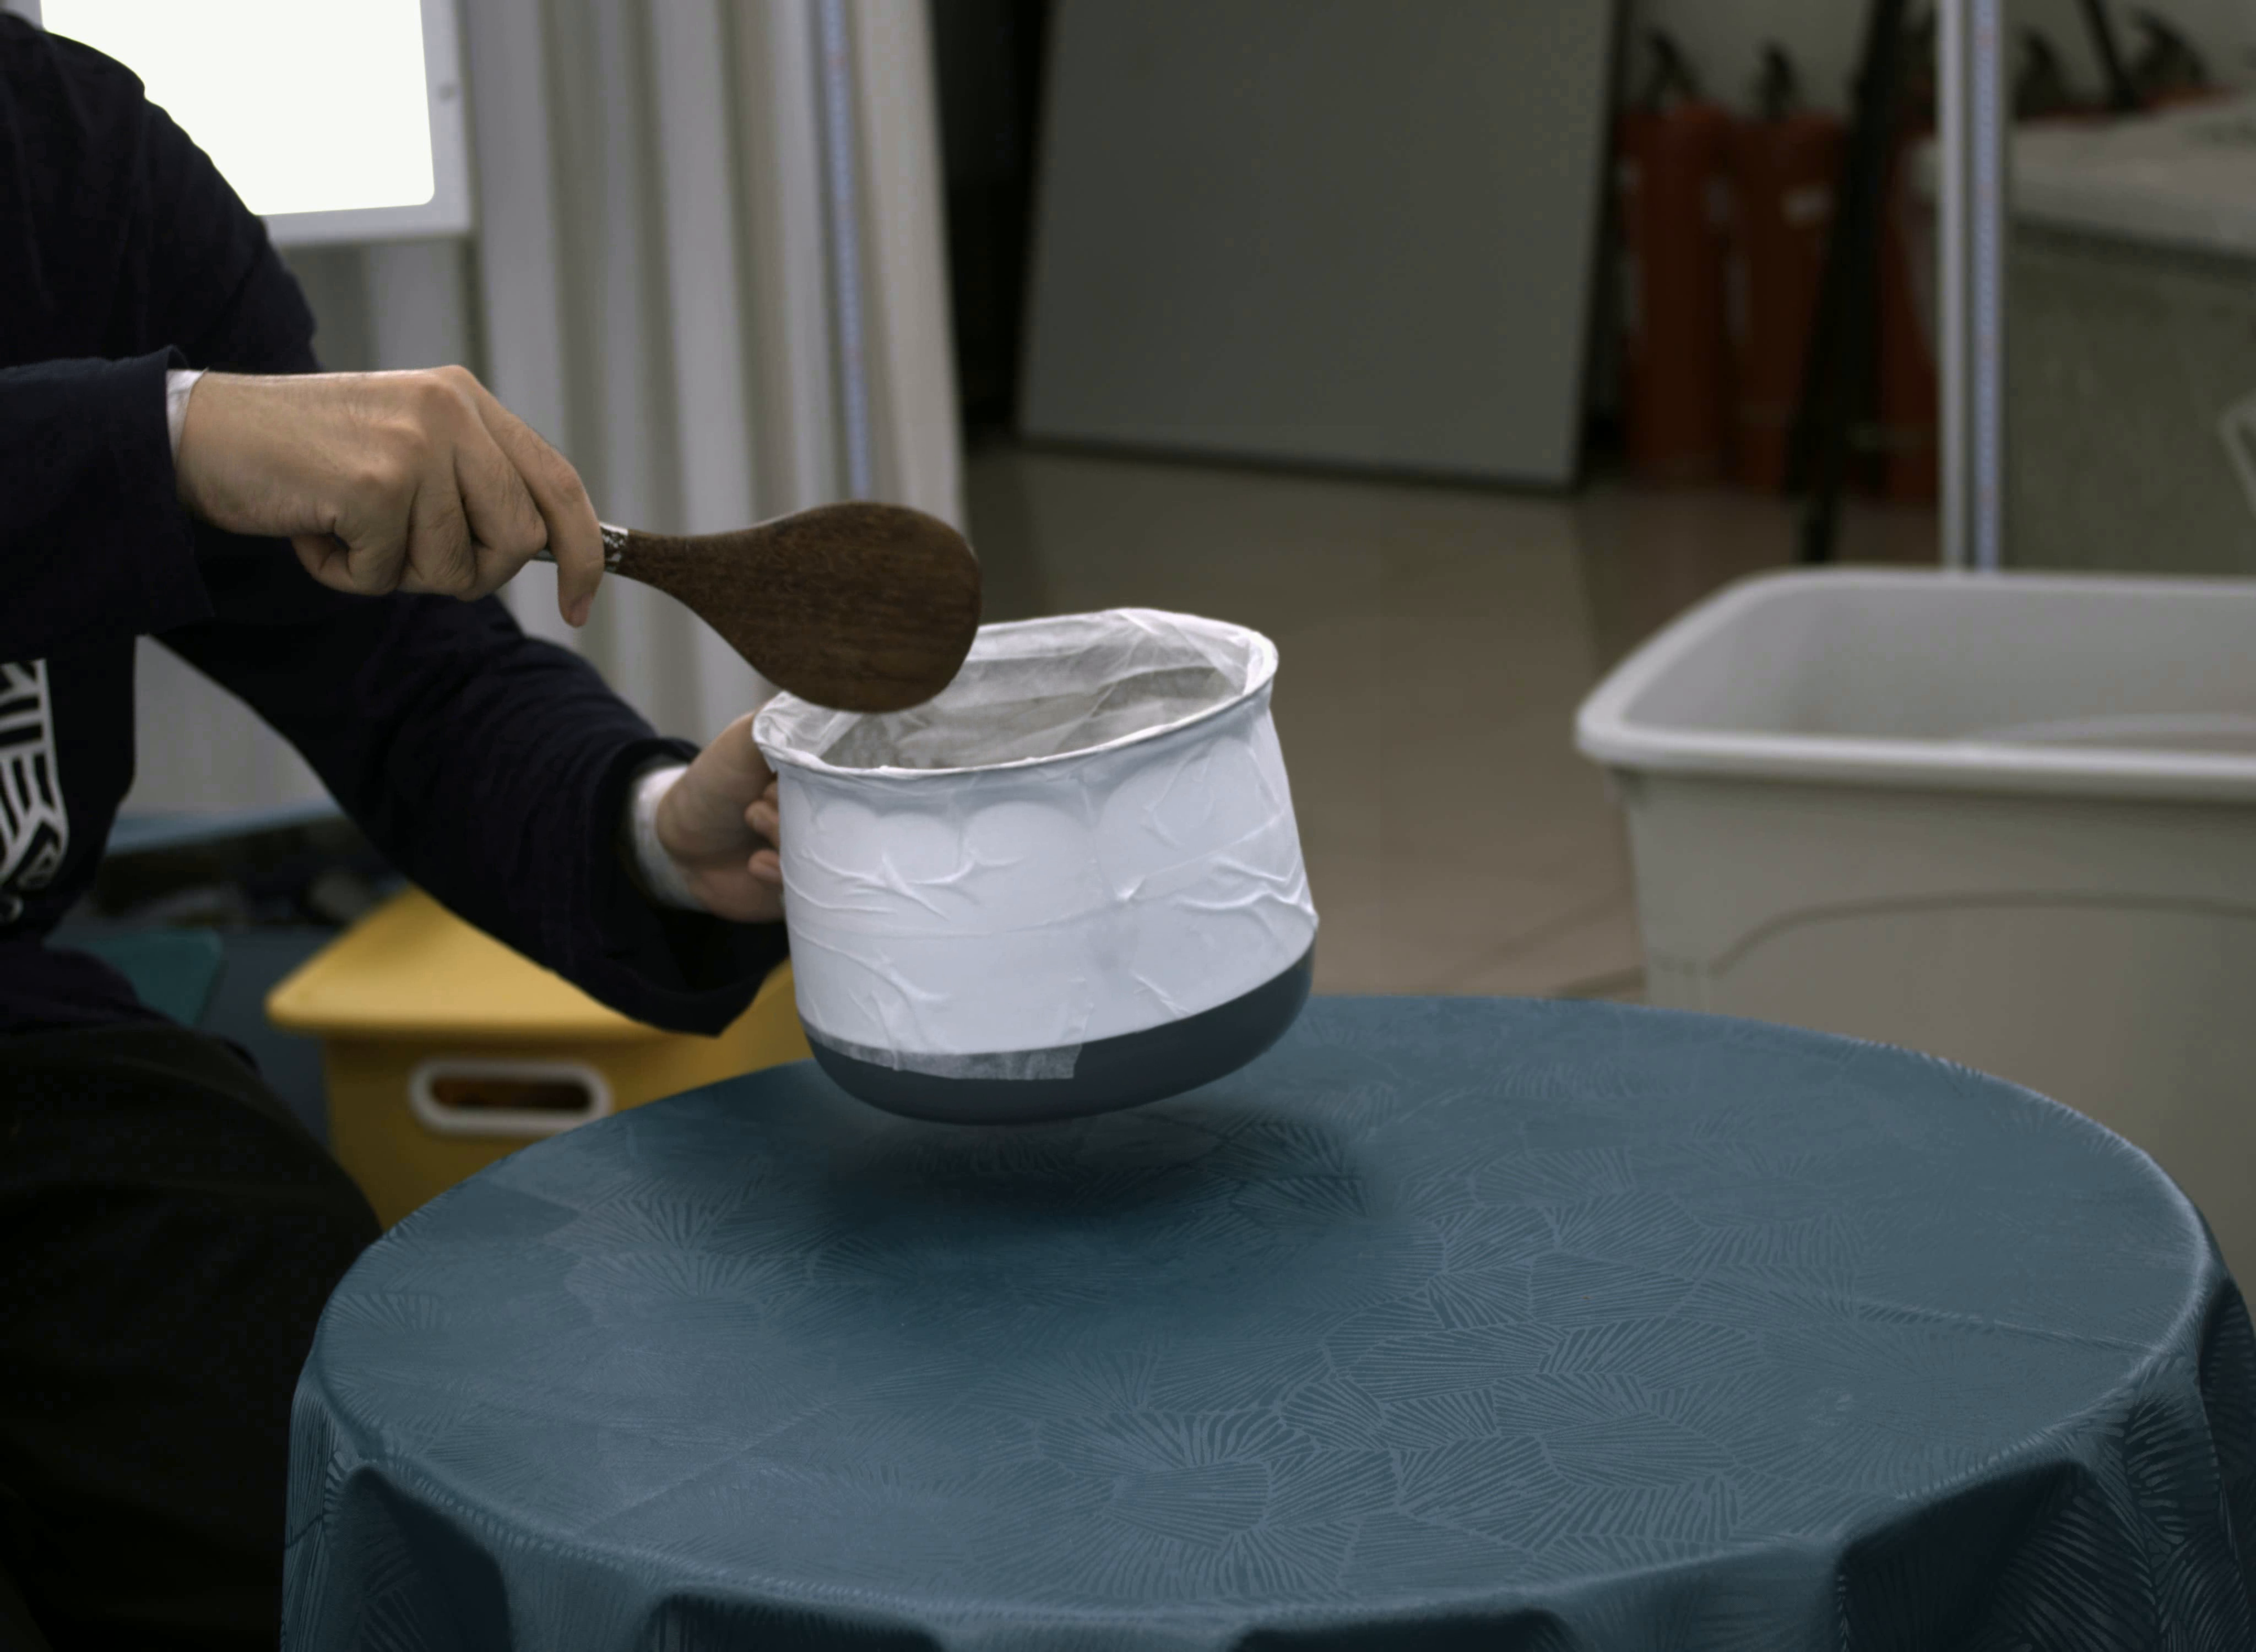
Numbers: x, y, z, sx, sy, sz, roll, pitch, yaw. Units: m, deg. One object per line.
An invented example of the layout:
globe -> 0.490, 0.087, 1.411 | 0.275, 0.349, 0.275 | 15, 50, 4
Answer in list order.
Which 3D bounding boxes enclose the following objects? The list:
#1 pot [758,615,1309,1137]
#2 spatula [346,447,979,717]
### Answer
pot -> -0.047, 0.011, 1.817 | 0.175, 0.138, 0.236 | -17, 19, -35
spatula -> -0.150, -0.089, 1.762 | 0.212, 0.073, 0.009 | 14, 11, -13
